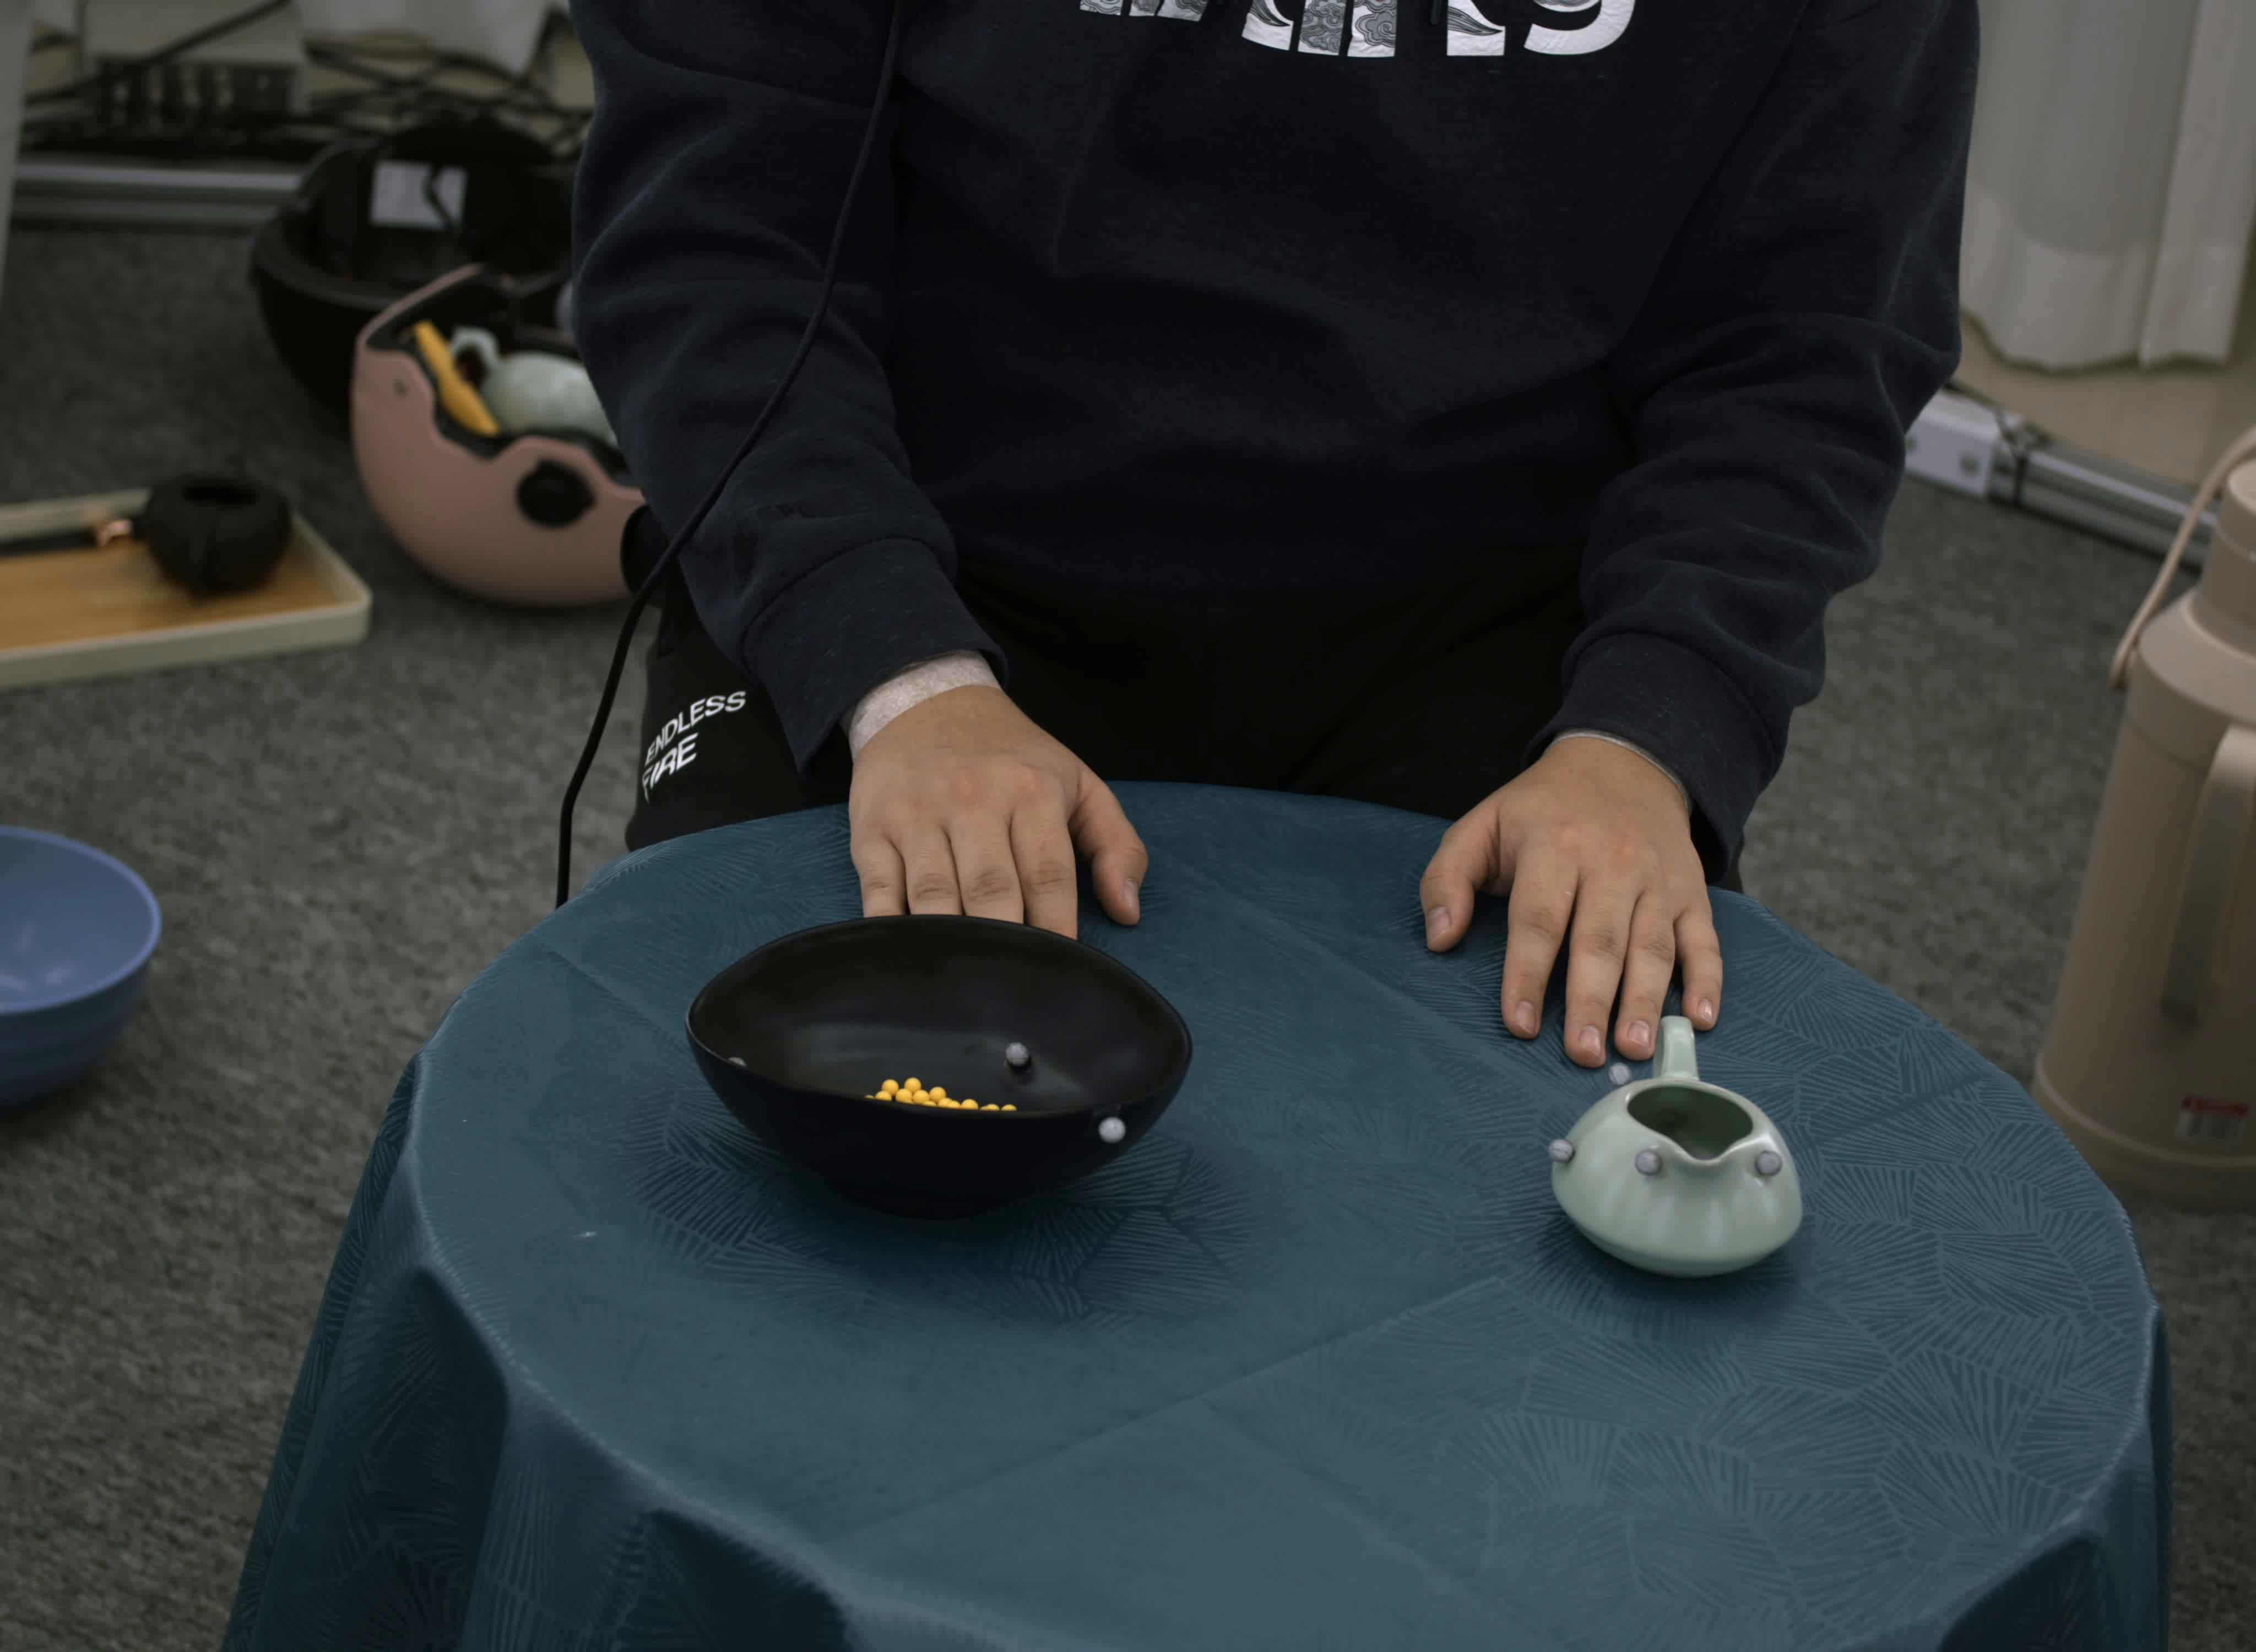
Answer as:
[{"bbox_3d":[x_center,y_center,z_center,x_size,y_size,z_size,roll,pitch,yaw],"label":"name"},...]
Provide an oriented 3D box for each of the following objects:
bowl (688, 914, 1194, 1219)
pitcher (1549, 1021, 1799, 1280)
[{"bbox_3d":[-0.065,0.089,1.789,0.170,0.066,0.138,5,26,-2],"label":"bowl"},{"bbox_3d":[0.186,0.112,1.813,0.085,0.060,0.108,6,25,-5],"label":"pitcher"}]
